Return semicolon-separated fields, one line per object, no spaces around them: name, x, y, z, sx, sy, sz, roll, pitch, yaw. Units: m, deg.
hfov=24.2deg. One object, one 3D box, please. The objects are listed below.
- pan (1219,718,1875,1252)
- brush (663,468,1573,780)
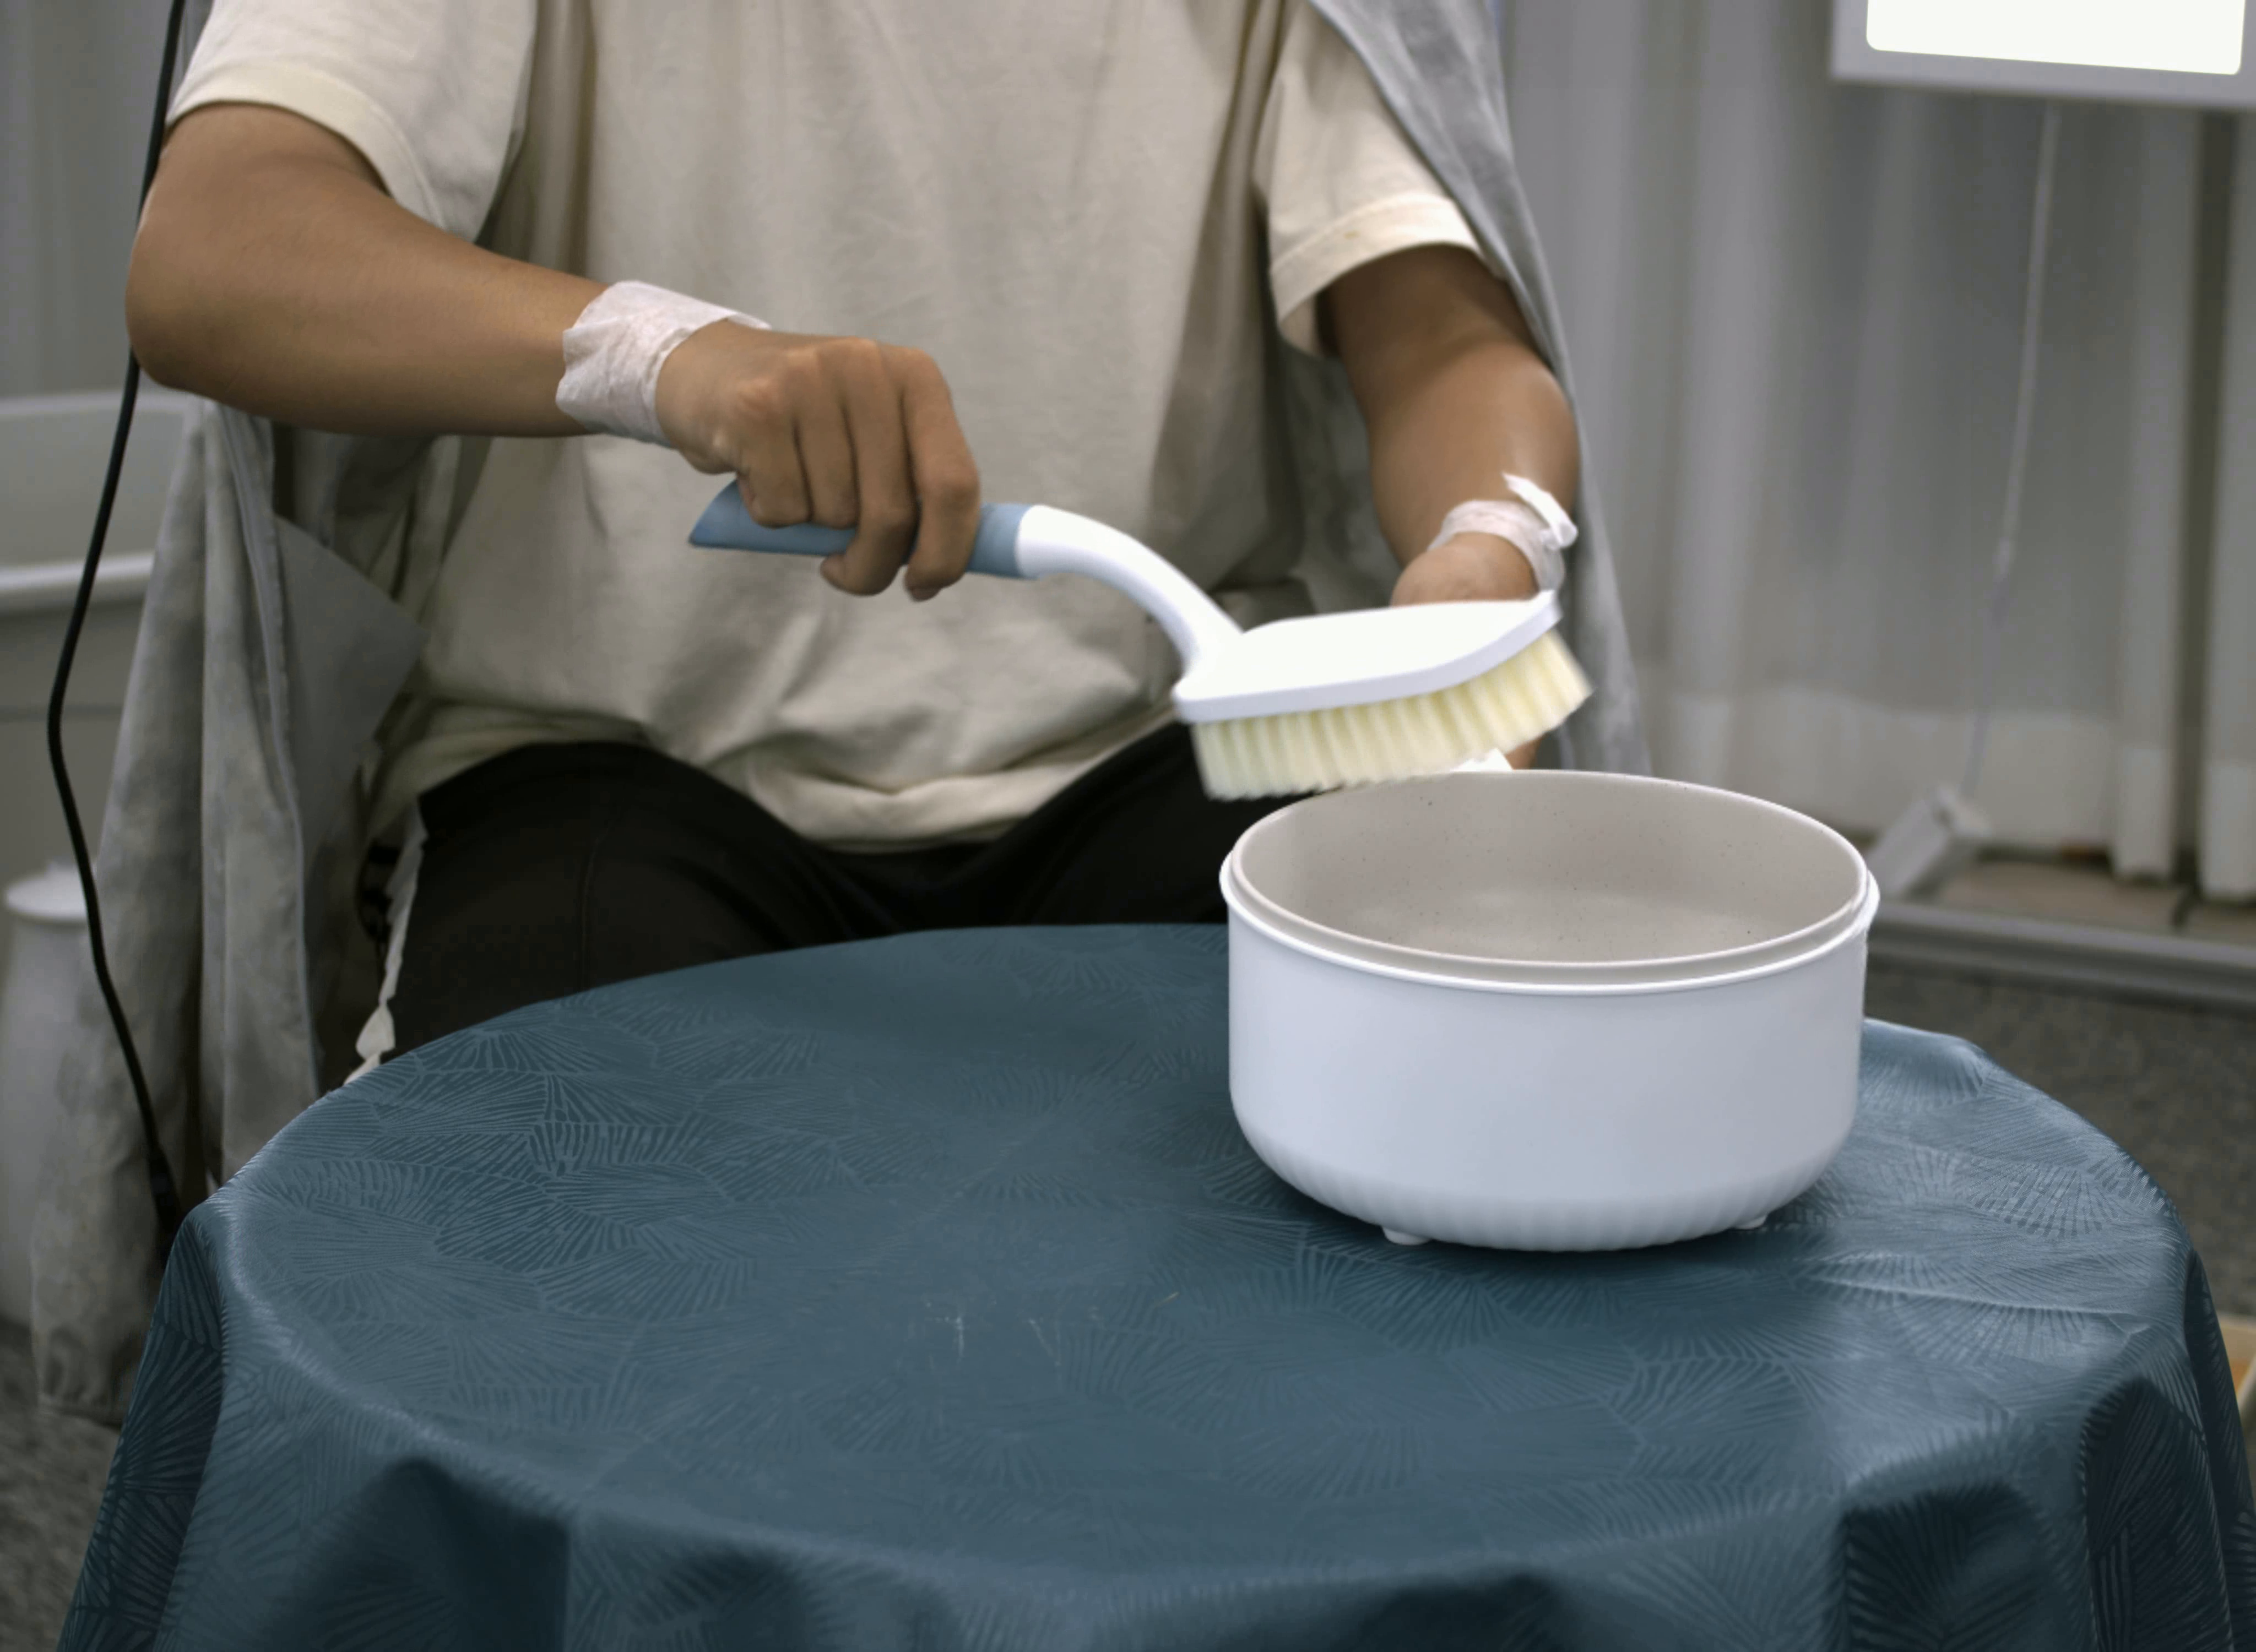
pan;0.116;0.037;1.698;0.201;0.103;0.352;-2;17;-9
brush;-0.006;-0.058;1.722;0.322;0.084;0.084;6;-11;25
